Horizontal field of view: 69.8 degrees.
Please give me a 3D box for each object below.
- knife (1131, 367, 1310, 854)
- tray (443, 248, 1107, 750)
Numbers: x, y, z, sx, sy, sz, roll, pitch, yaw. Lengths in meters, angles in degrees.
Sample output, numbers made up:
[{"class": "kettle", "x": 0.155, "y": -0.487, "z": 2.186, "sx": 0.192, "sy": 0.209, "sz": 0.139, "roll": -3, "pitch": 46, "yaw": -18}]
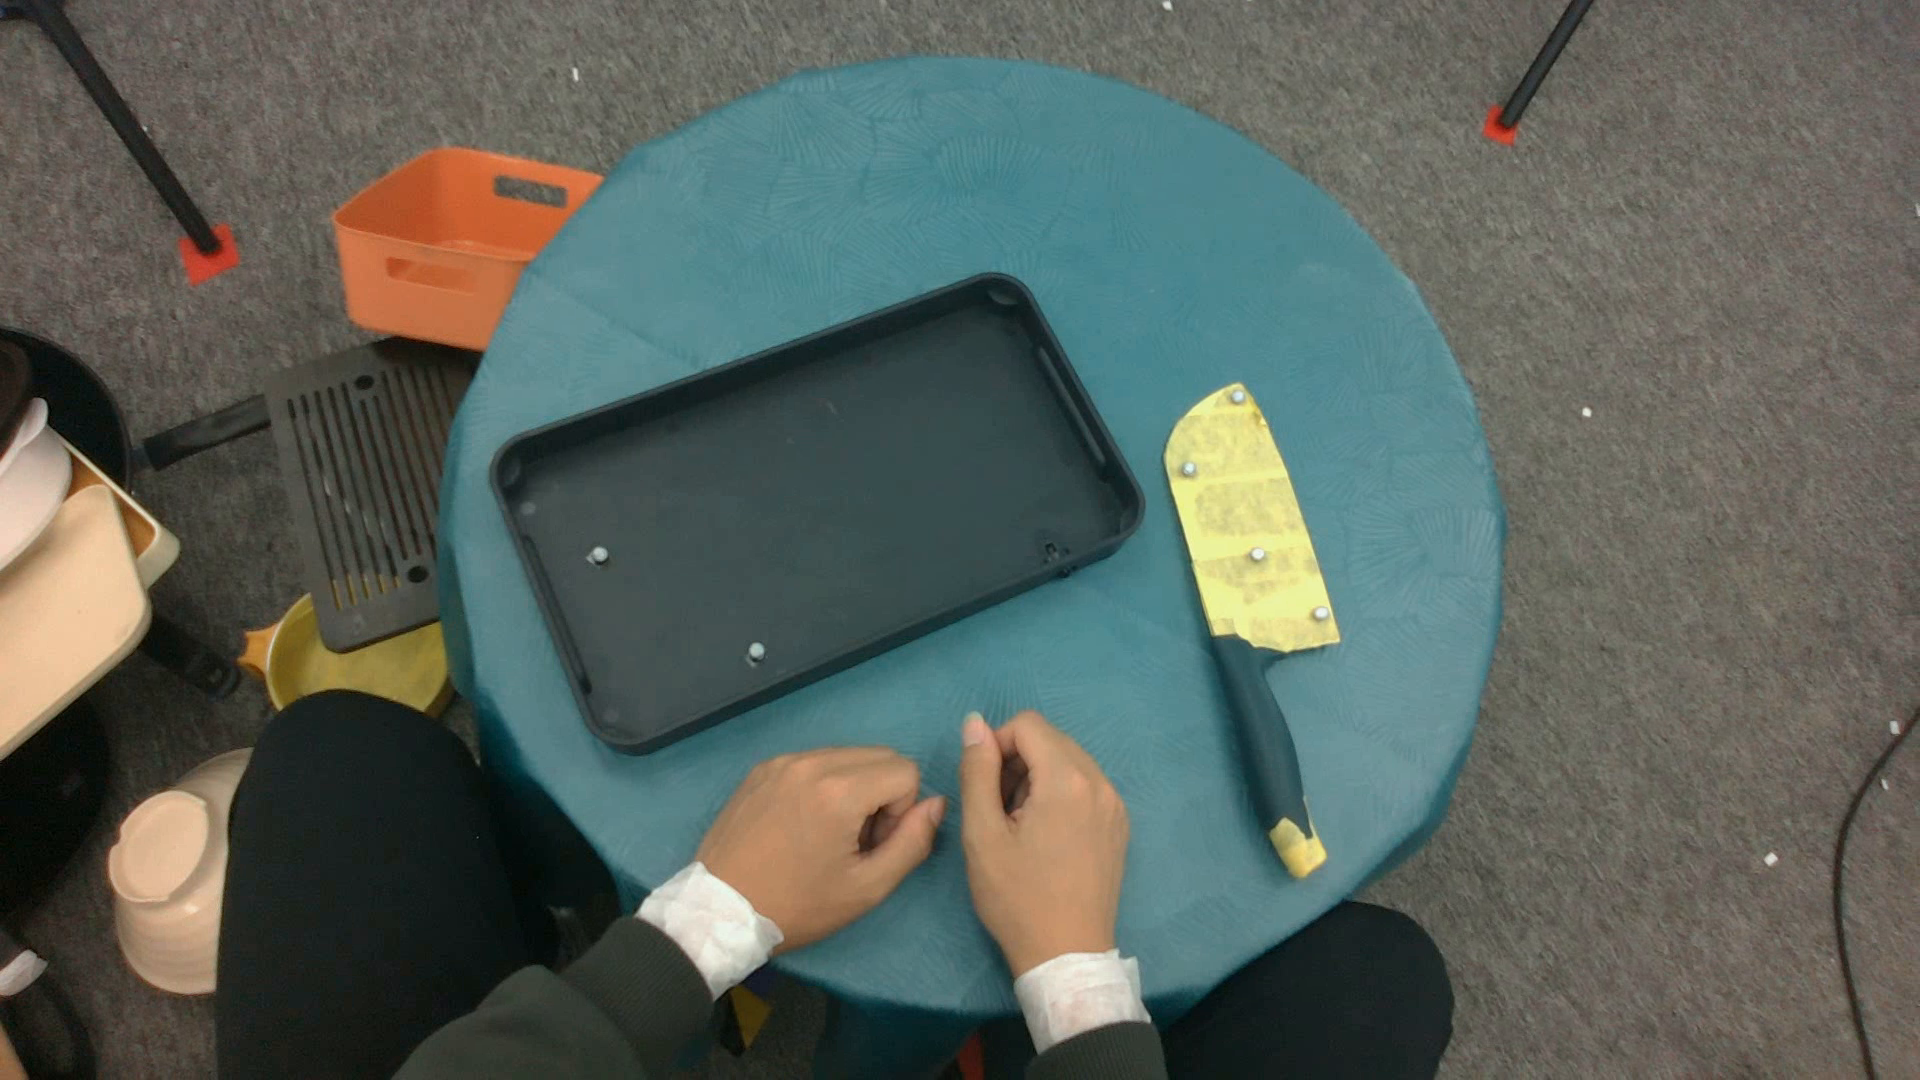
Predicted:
[{"class": "knife", "x": 0.154, "y": 0.028, "z": 0.770, "sx": 0.081, "sy": 0.027, "sz": 0.290, "roll": -5, "pitch": 68, "yaw": -9}, {"class": "tray", "x": -0.094, "y": -0.030, "z": 0.746, "sx": 0.319, "sy": 0.037, "sz": 0.184, "roll": -25, "pitch": 74, "yaw": -17}]
